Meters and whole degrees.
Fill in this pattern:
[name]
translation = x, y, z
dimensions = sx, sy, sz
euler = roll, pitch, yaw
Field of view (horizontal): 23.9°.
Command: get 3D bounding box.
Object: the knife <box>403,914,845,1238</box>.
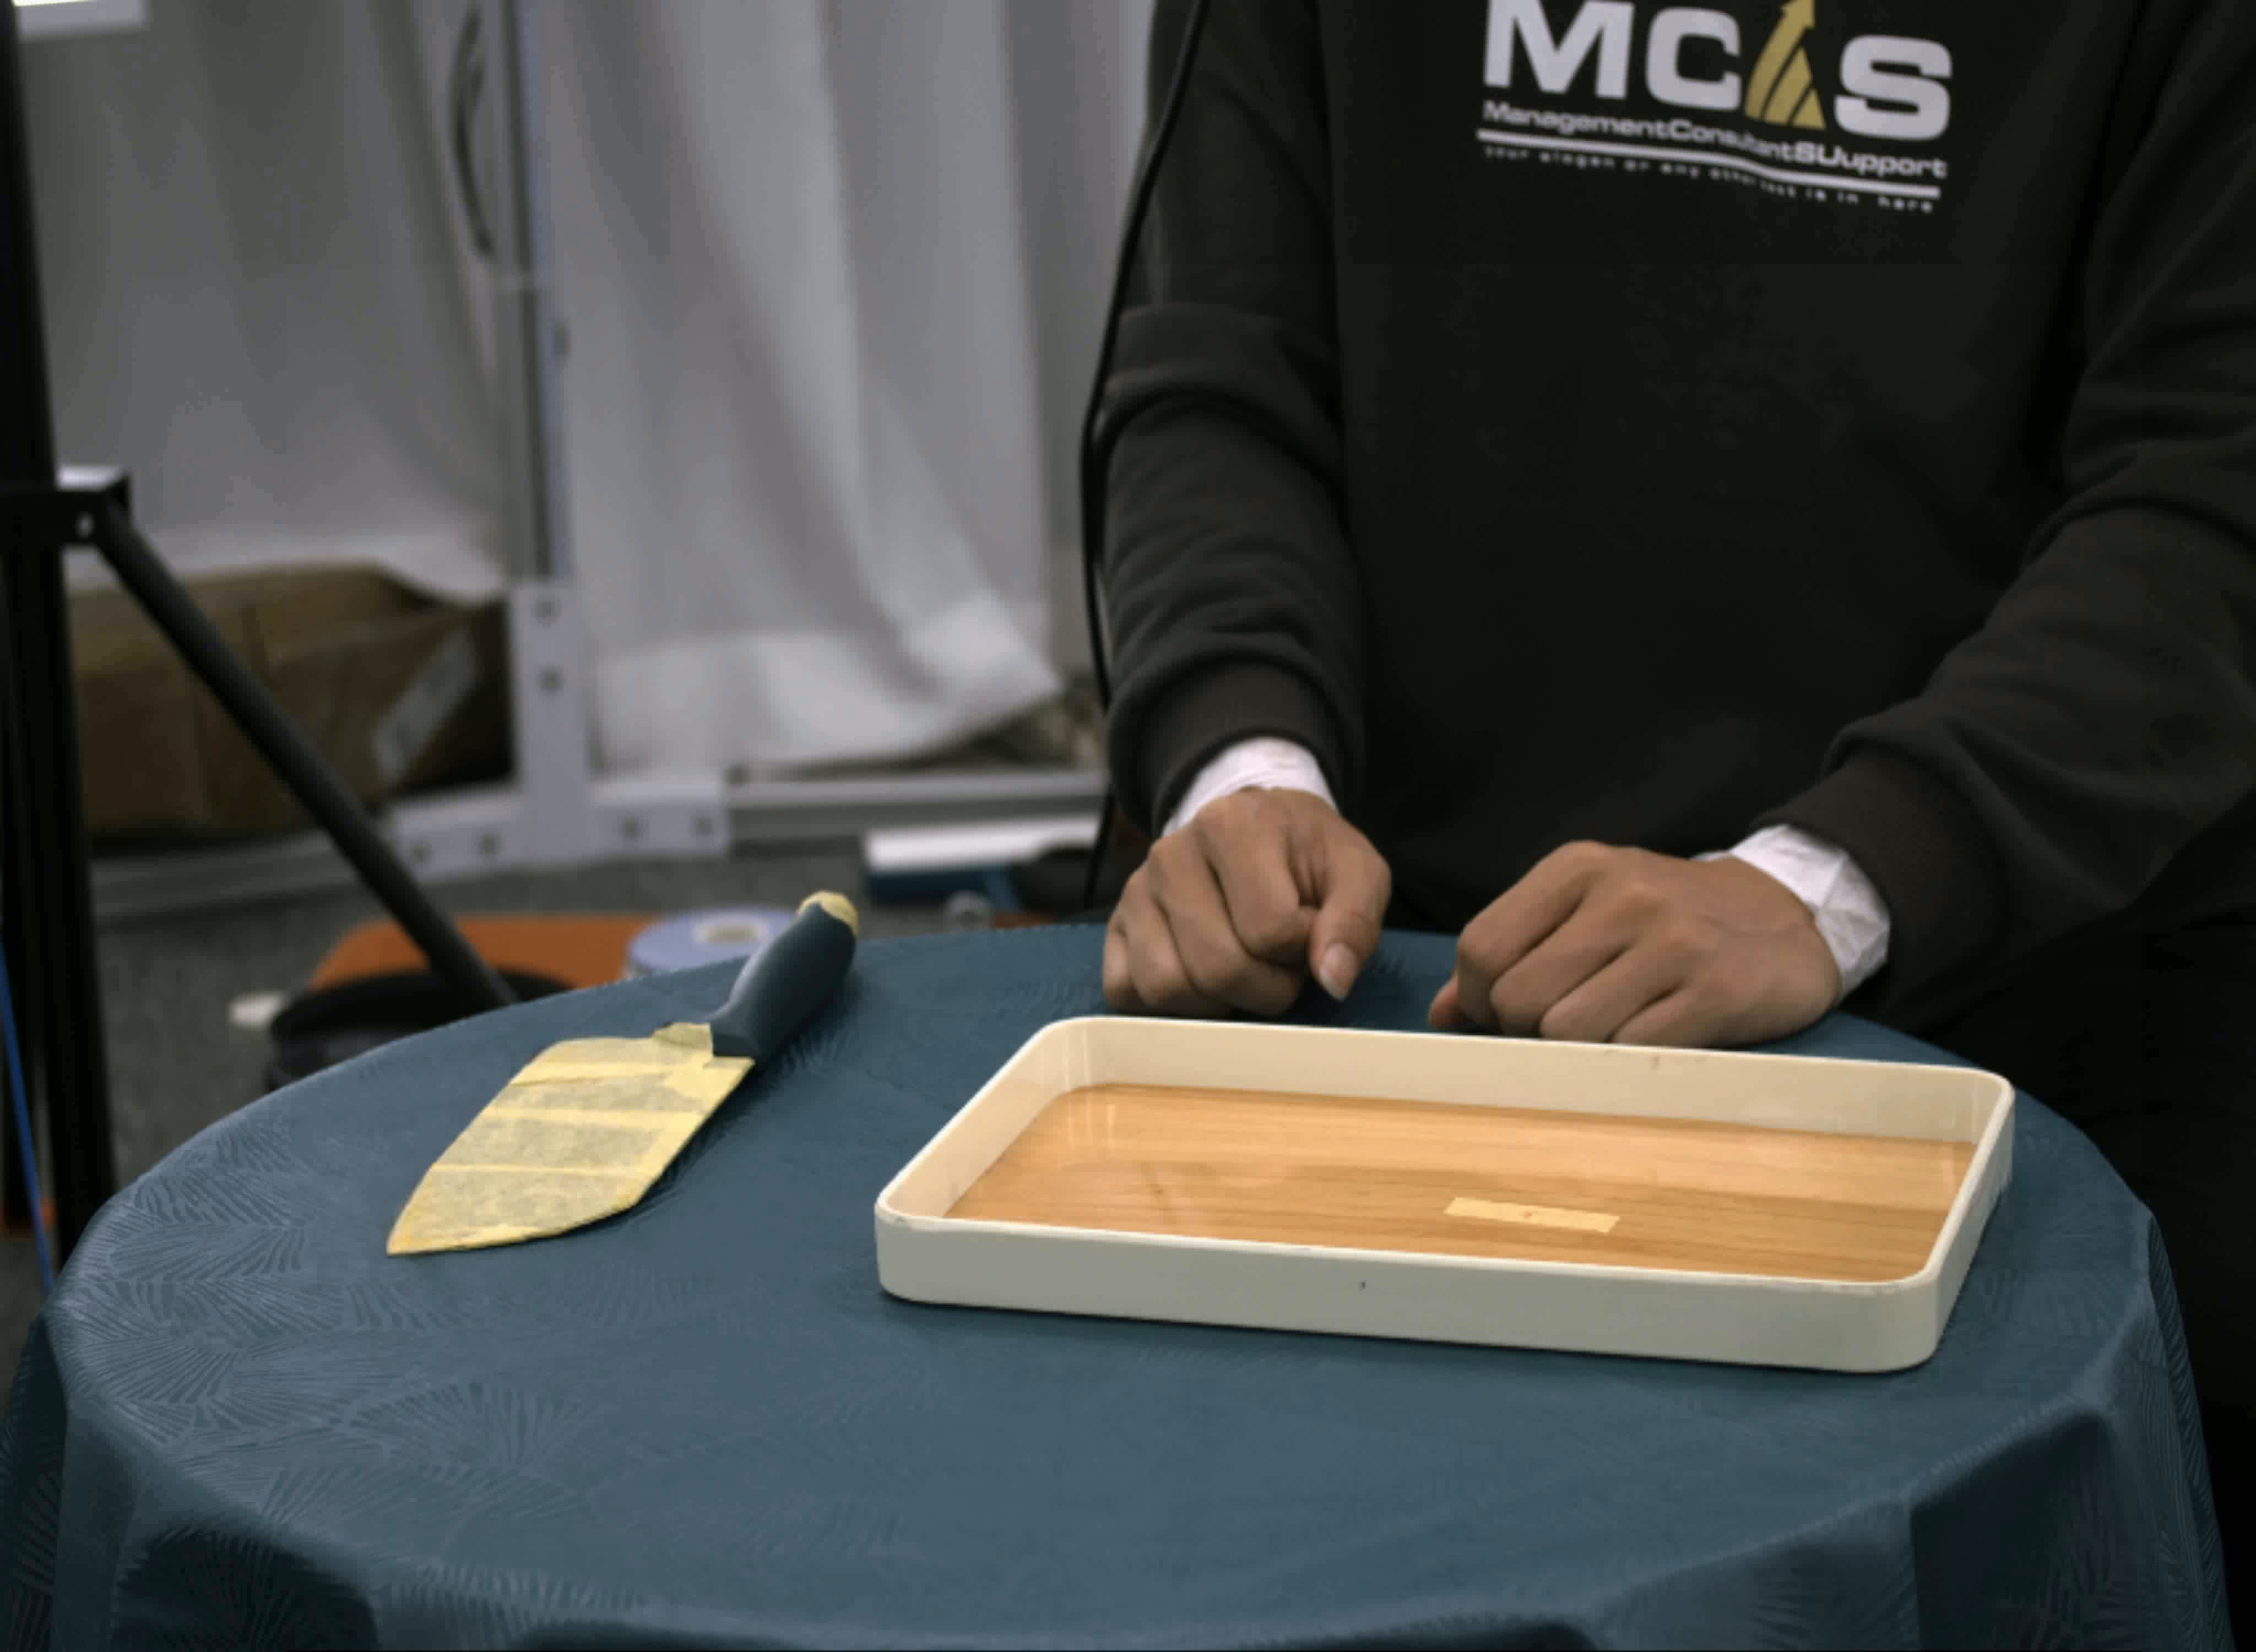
[knife]
translation = -0.152, 0.078, 1.665
dimensions = 0.082, 0.027, 0.286
euler = 4, 18, 17

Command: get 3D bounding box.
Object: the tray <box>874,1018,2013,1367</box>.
[tray]
translation = 0.094, 0.103, 1.518
dimensions = 0.303, 0.027, 0.189
euler = 3, 16, 18
